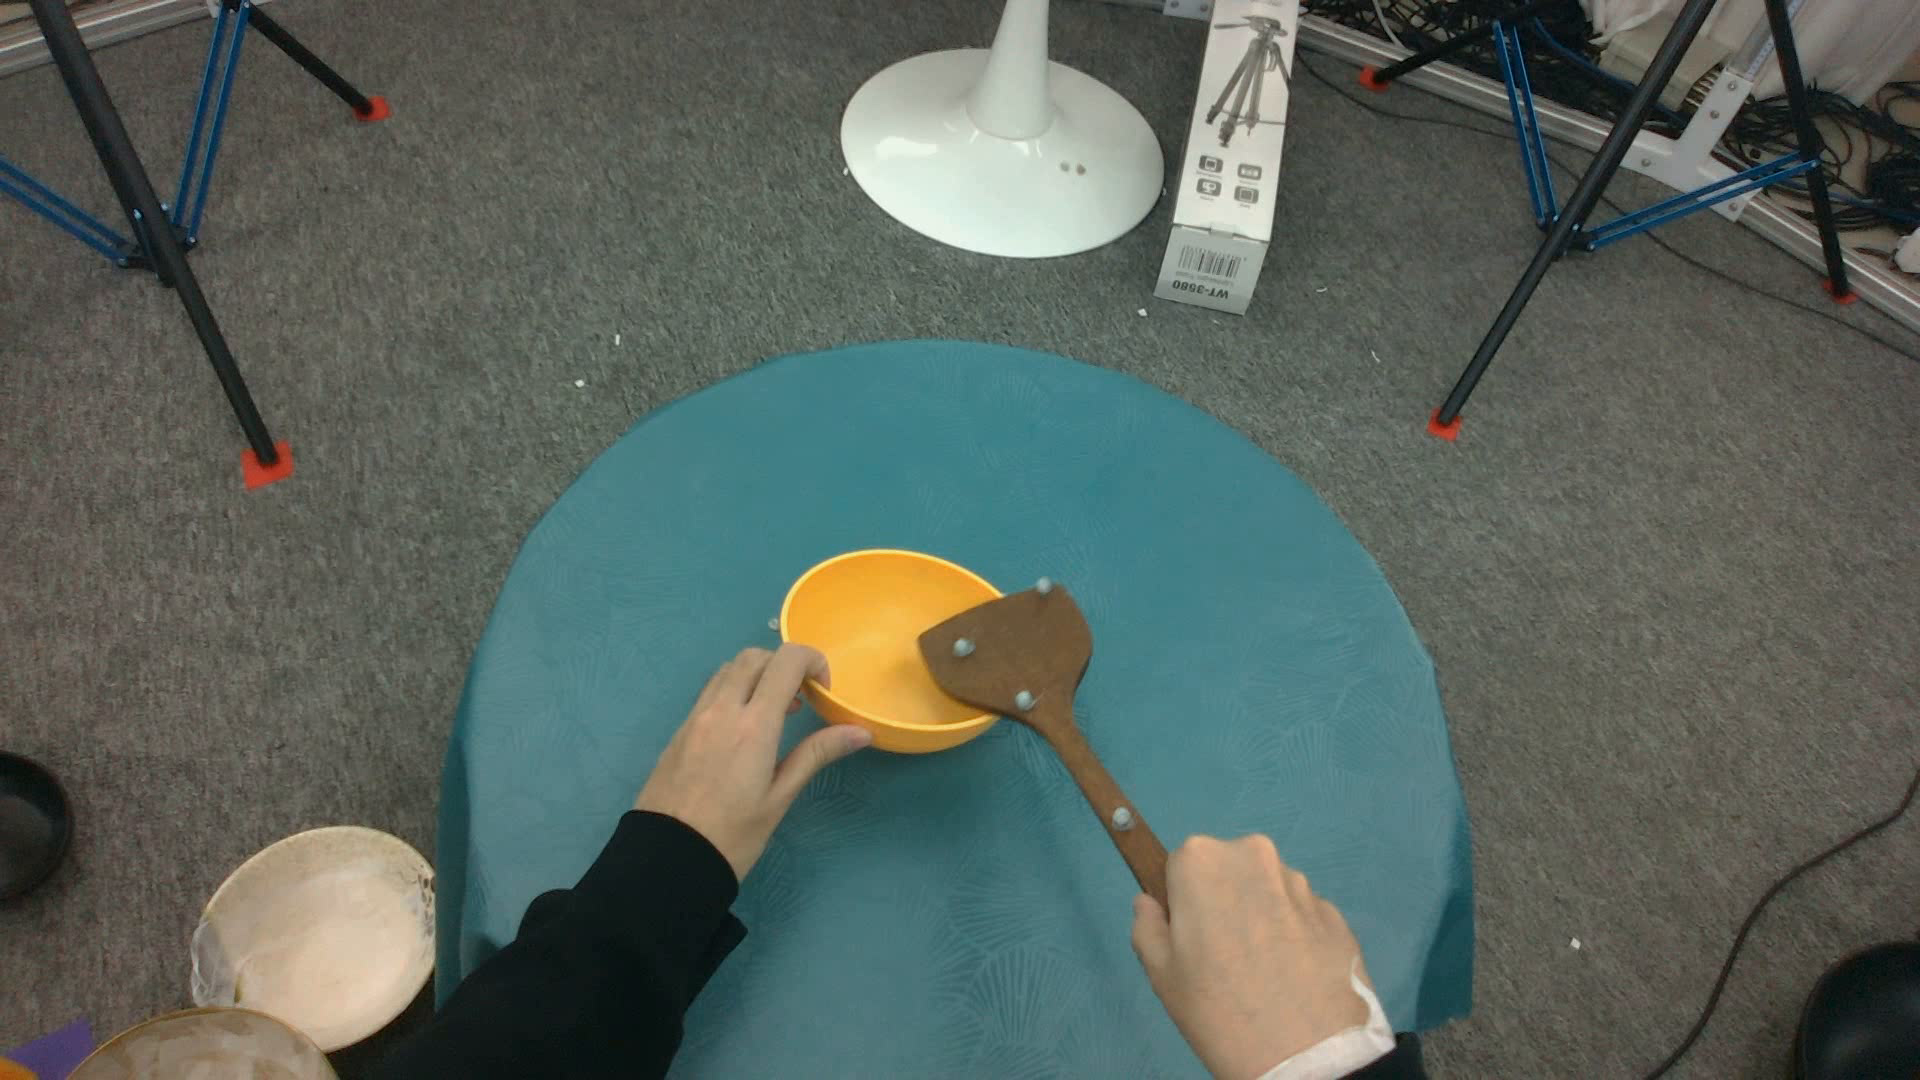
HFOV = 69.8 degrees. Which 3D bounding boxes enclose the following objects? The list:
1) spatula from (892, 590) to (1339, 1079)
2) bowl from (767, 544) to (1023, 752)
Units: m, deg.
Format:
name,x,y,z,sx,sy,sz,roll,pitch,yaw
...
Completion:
name,x,y,z,sx,sy,sz,roll,pitch,yaw
spatula,0.063,0.122,0.642,0.096,0.016,0.386,-18,29,-12
bowl,-0.041,0.072,0.789,0.145,0.060,0.146,9,41,-8
